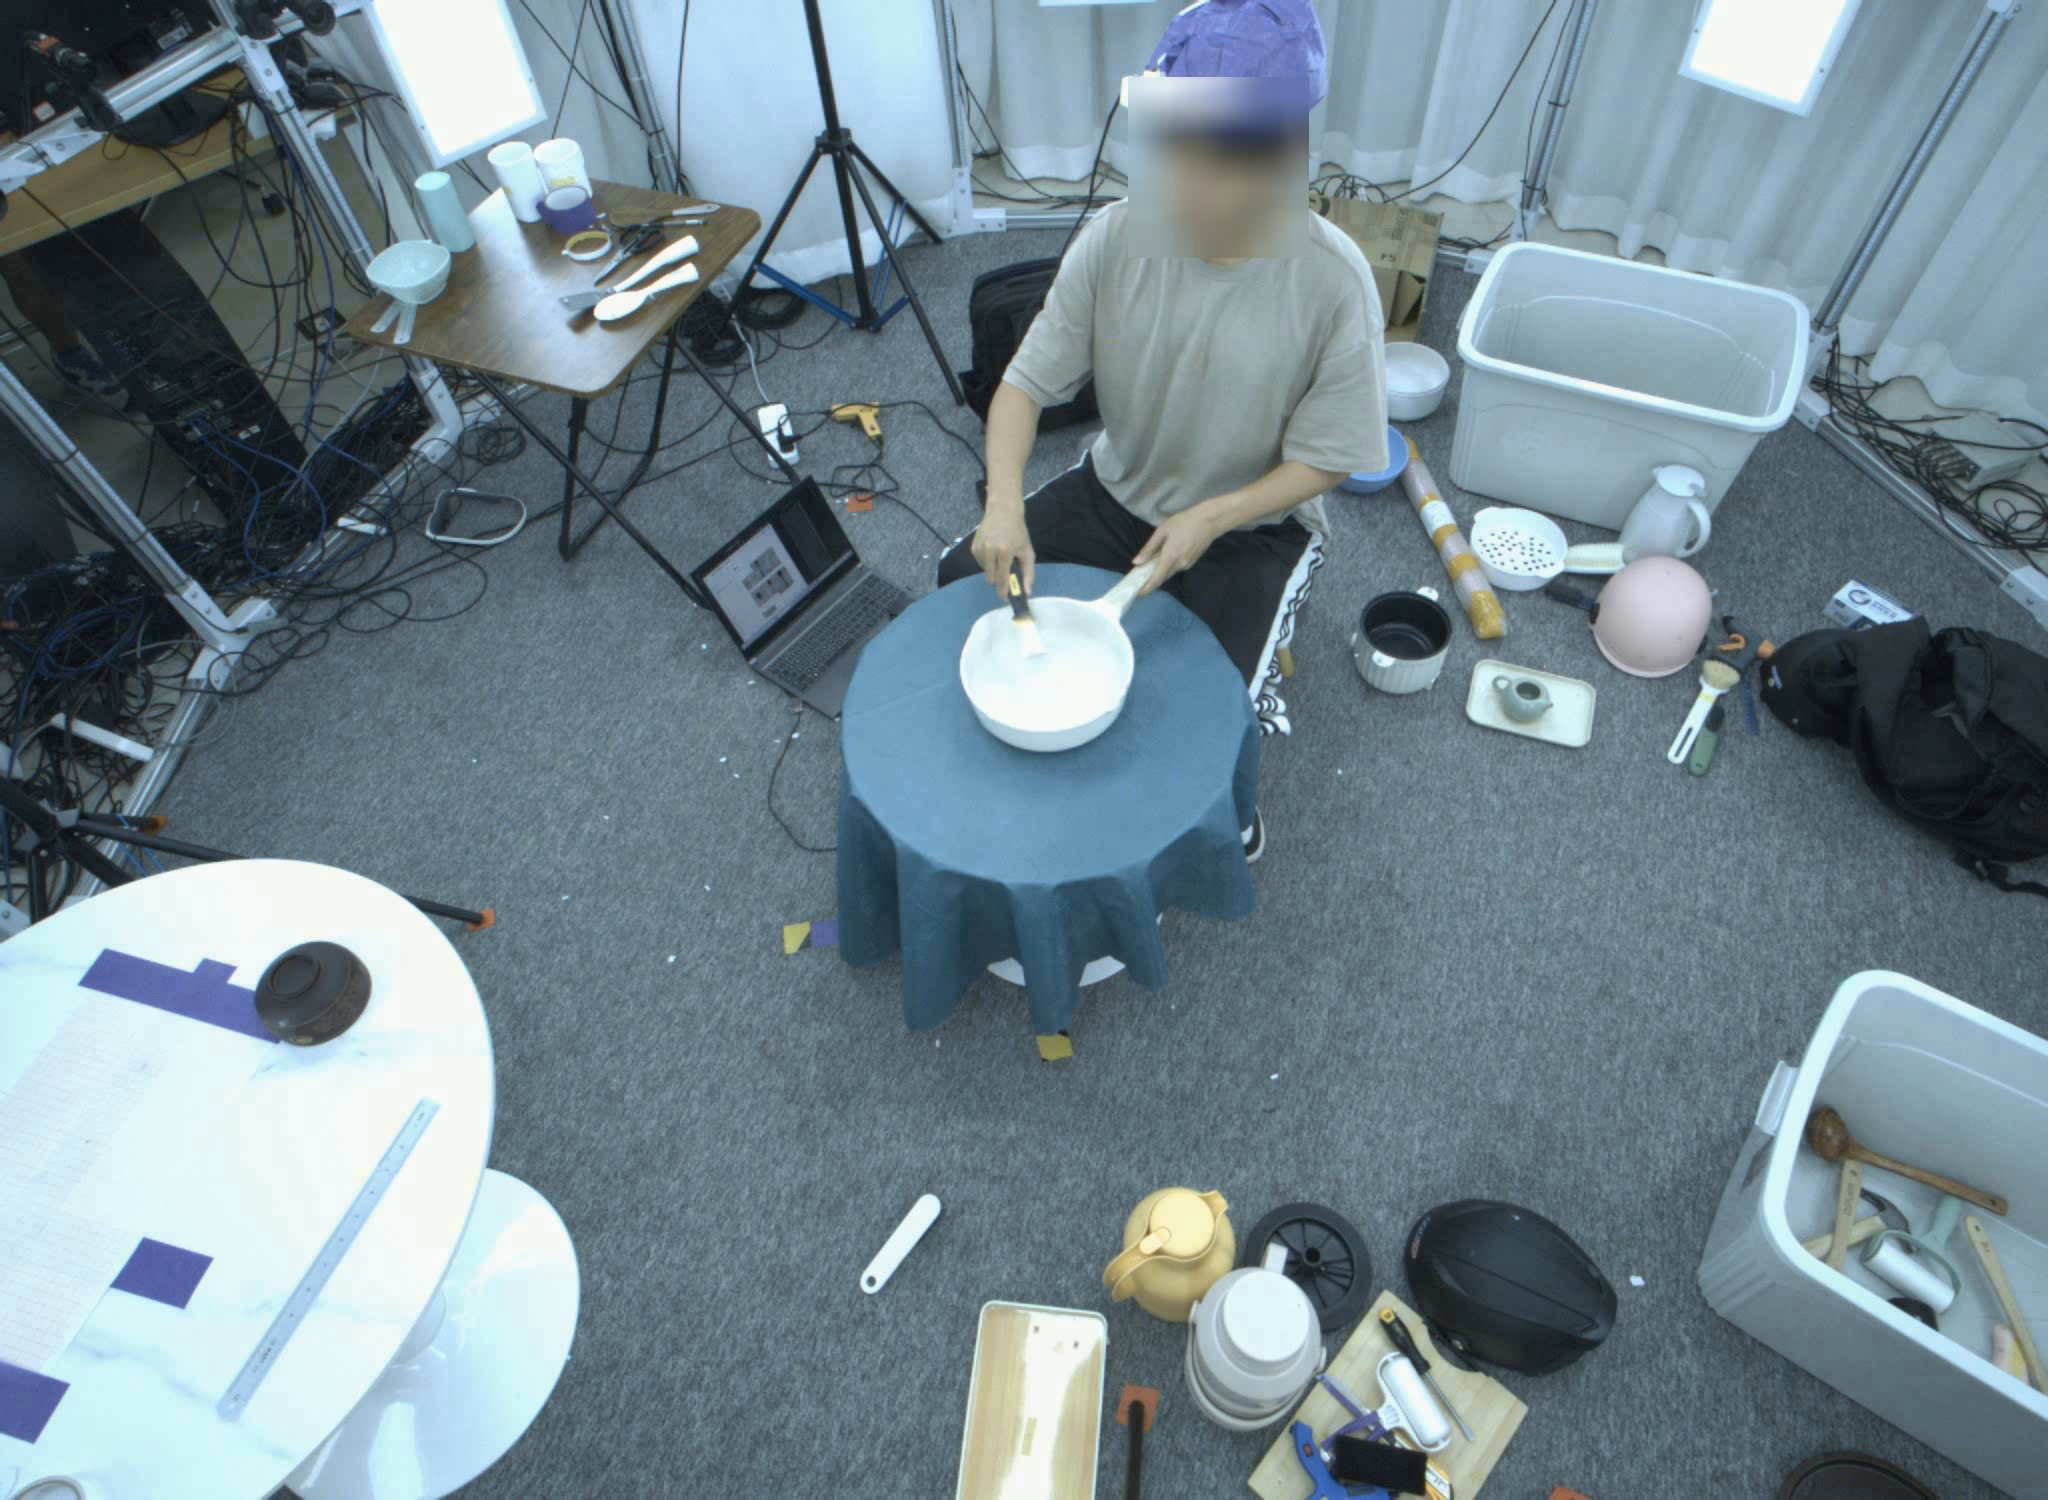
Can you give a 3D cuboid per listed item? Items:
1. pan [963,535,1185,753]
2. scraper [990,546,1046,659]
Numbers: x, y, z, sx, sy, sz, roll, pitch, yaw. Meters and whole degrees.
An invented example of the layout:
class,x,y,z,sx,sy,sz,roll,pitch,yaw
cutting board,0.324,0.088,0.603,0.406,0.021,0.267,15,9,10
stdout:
class,x,y,z,sx,sy,sz,roll,pitch,yaw
pan,0.101,-0.163,1.837,0.258,0.103,0.437,34,63,26
scraper,-0.013,-0.216,1.789,0.039,0.015,0.171,-19,88,4
